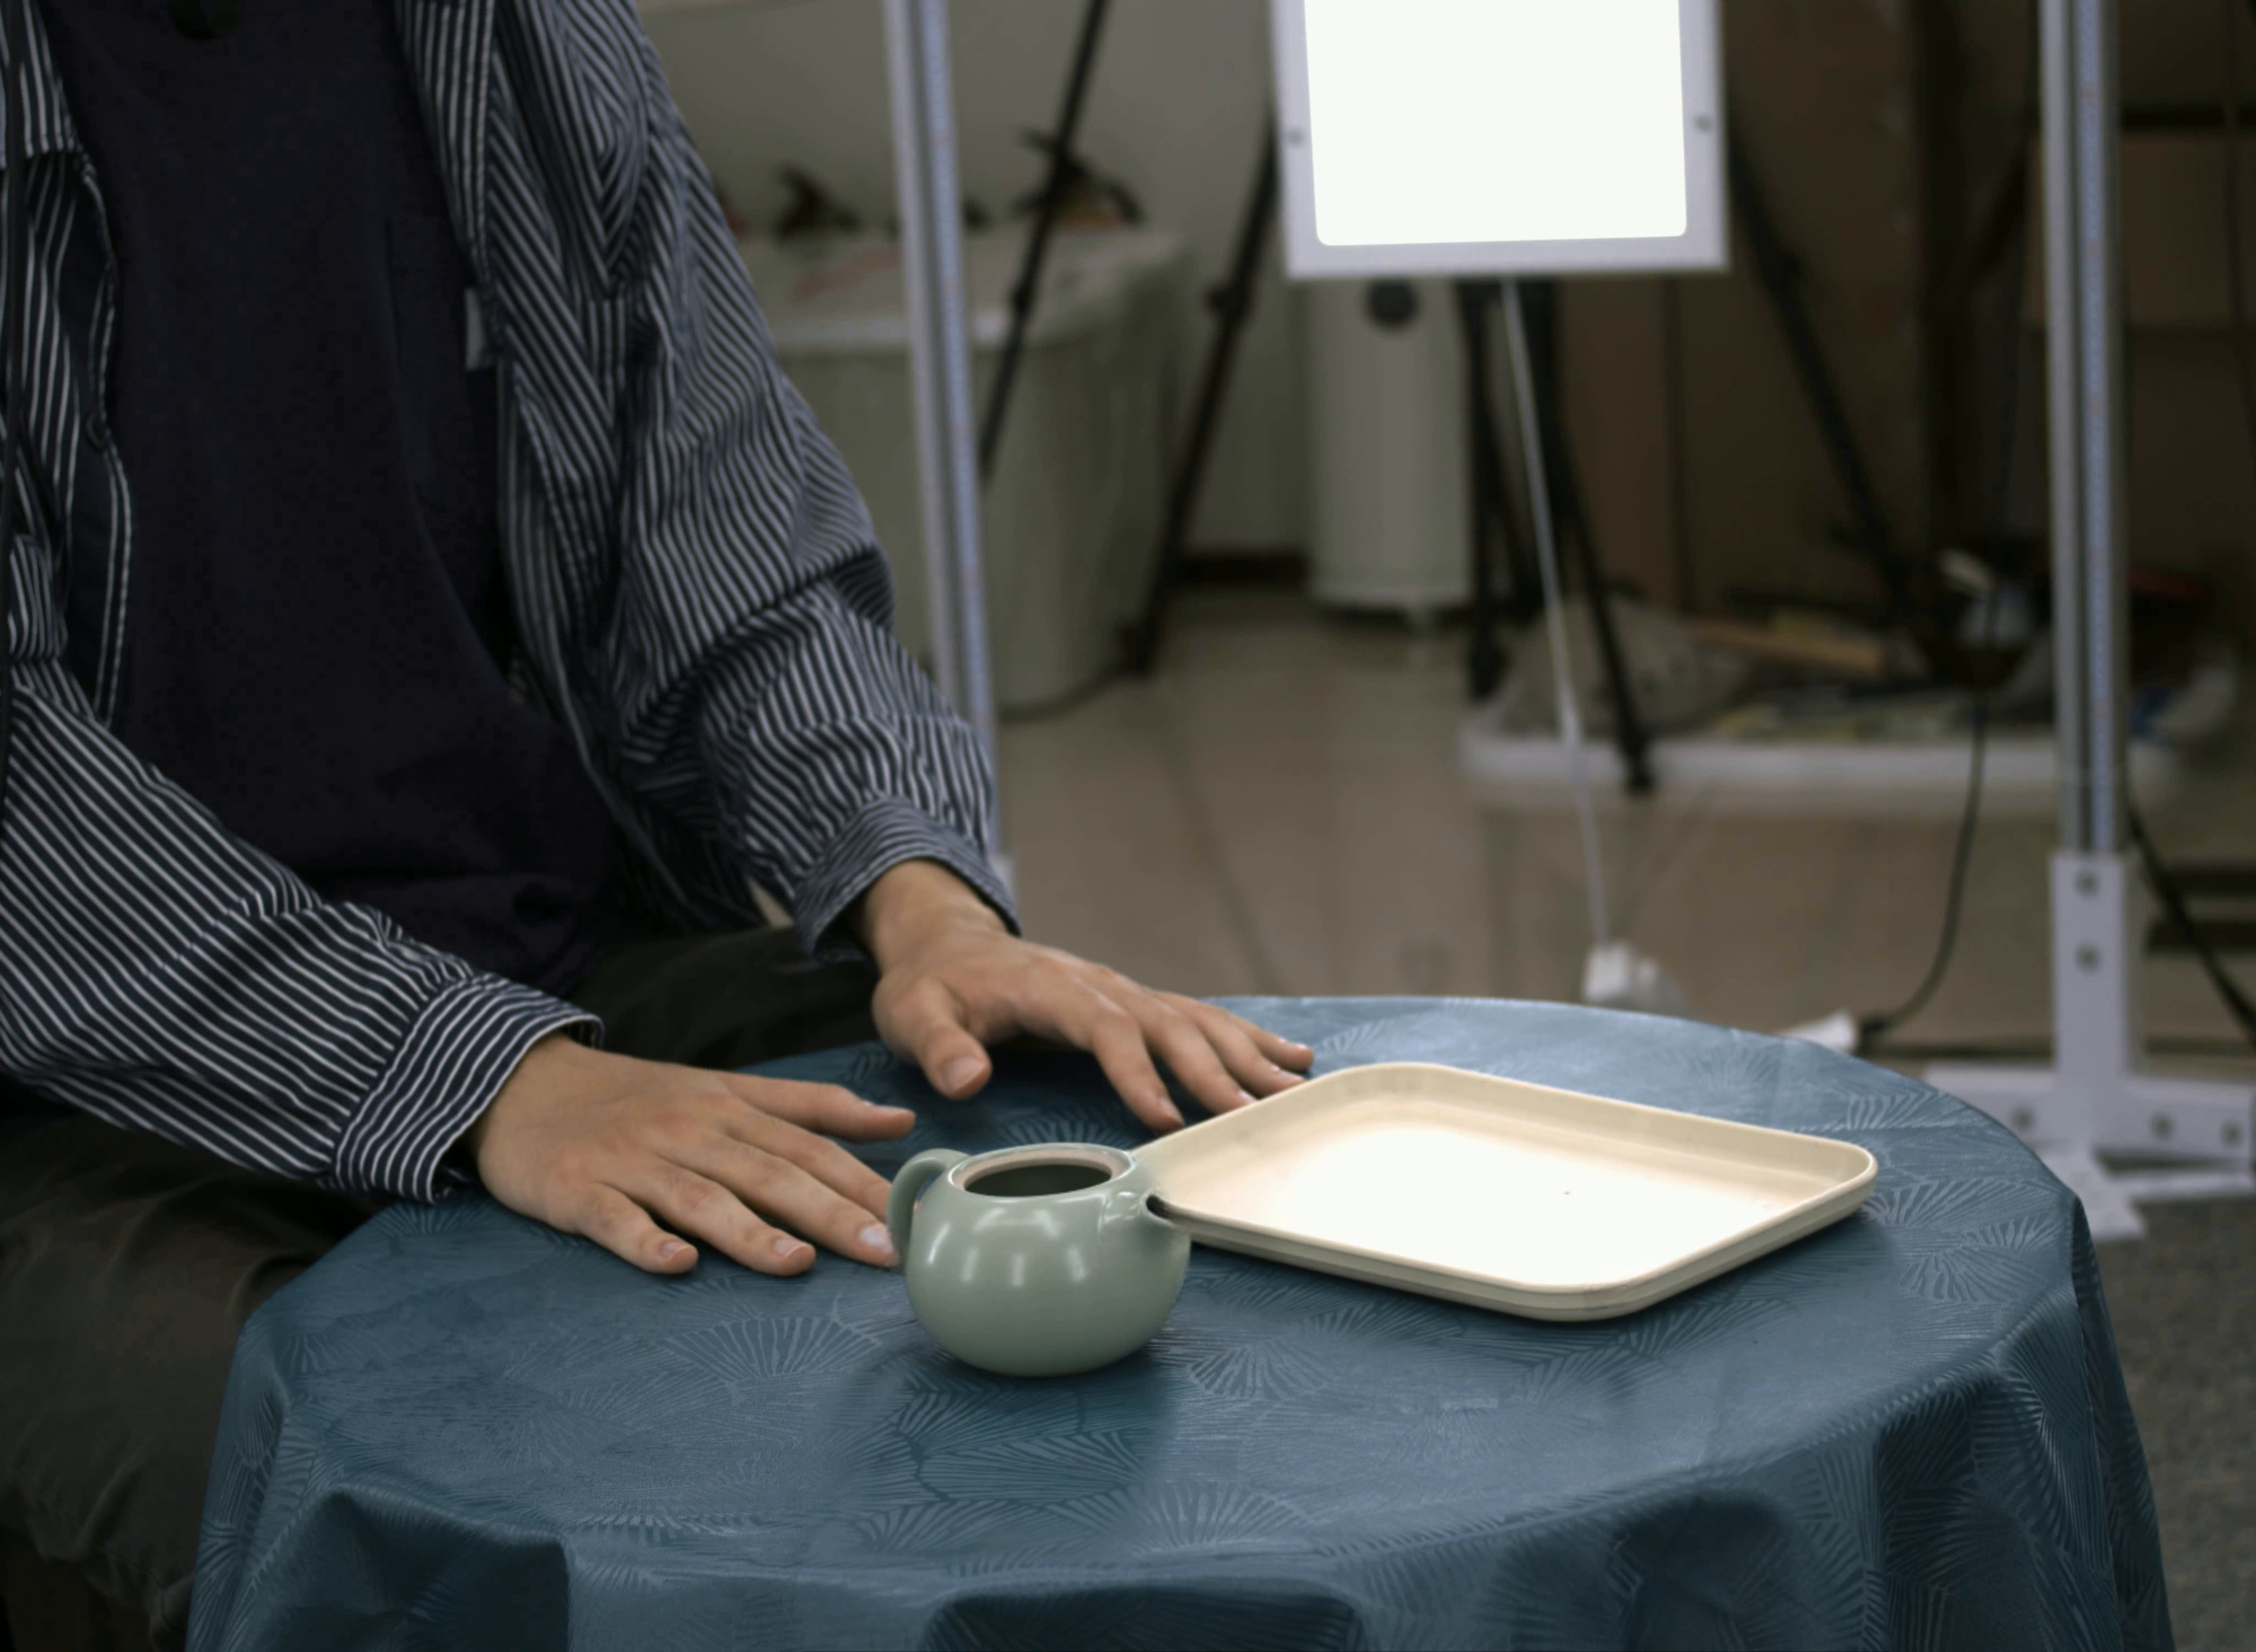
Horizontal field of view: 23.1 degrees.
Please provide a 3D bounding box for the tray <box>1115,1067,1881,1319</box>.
[{"bbox_3d":[0.118,0.121,1.833,0.167,0.017,0.245,-17,18,-42],"label":"tray"}]

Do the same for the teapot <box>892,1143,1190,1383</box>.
[{"bbox_3d":[-0.032,0.137,1.742,0.089,0.061,0.131,-18,18,-37],"label":"teapot"}]
